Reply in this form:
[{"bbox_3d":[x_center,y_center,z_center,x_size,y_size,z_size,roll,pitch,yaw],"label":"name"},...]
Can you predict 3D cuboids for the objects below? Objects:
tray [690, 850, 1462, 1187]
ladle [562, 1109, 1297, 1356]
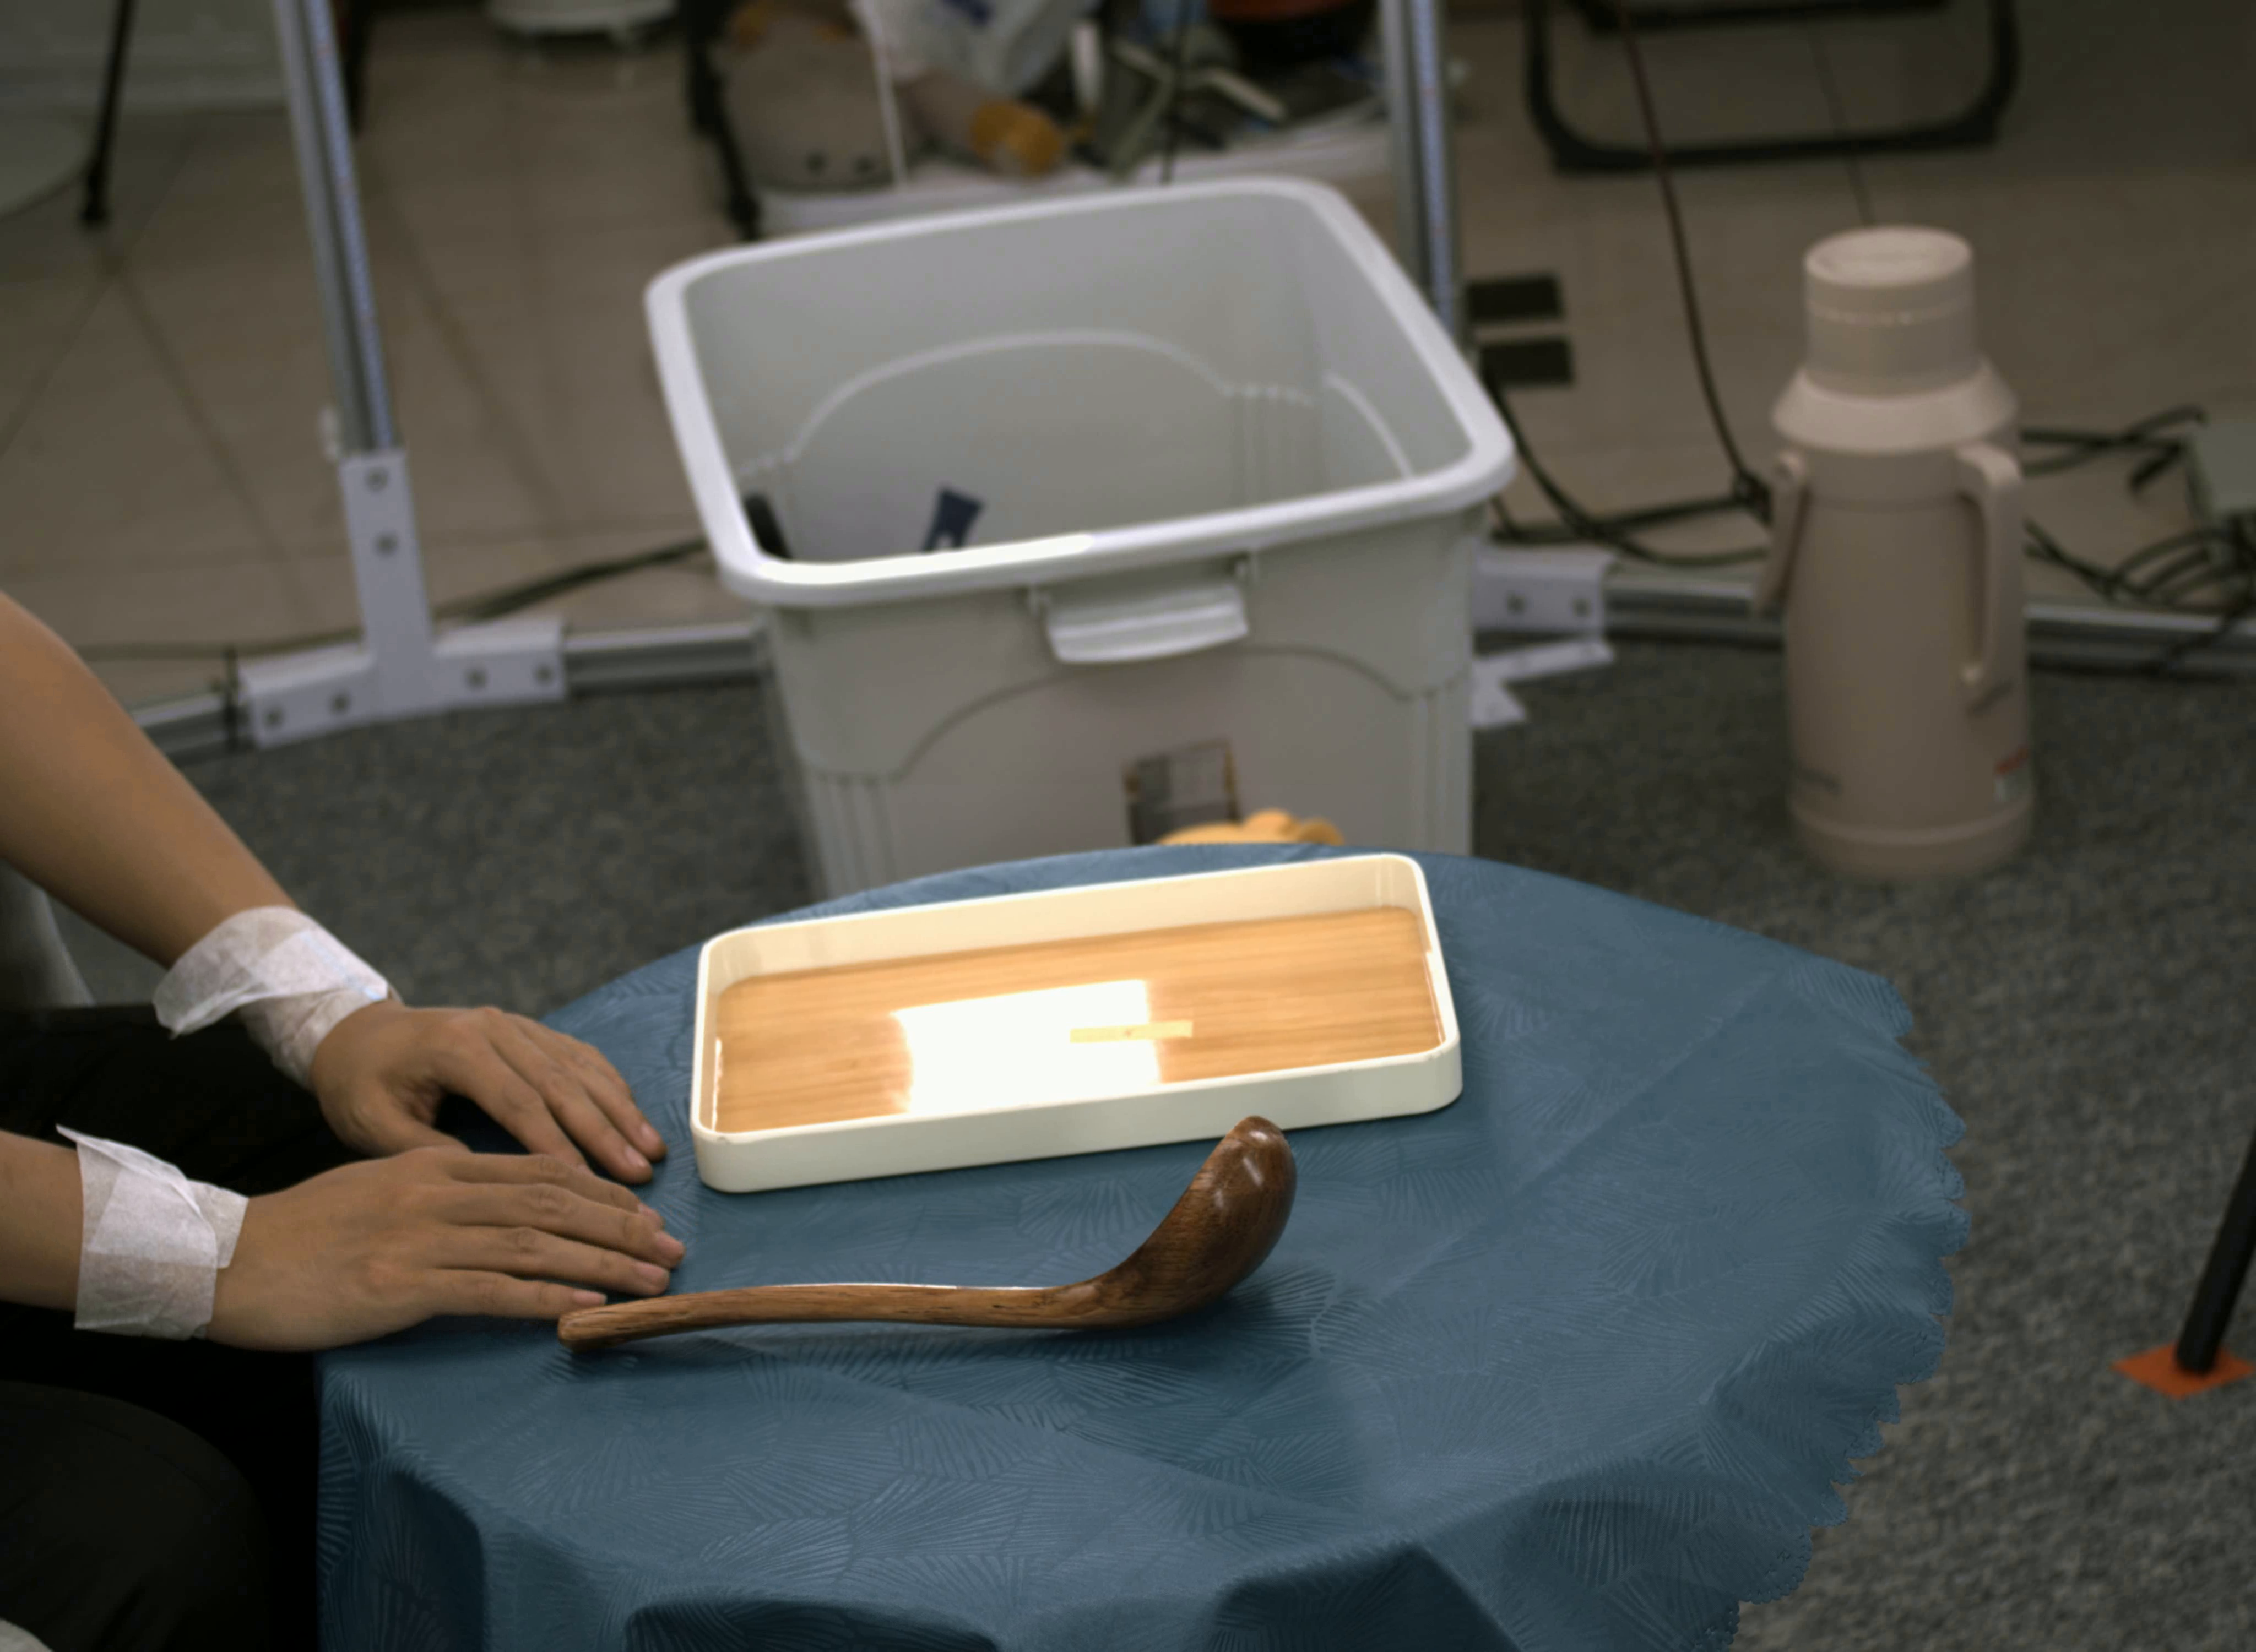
[{"bbox_3d":[-0.023,0.075,2.261,0.300,0.028,0.189,-6,25,0],"label":"tray"},{"bbox_3d":[-0.074,0.148,2.067,0.273,0.076,0.082,-3,-15,10],"label":"ladle"}]
